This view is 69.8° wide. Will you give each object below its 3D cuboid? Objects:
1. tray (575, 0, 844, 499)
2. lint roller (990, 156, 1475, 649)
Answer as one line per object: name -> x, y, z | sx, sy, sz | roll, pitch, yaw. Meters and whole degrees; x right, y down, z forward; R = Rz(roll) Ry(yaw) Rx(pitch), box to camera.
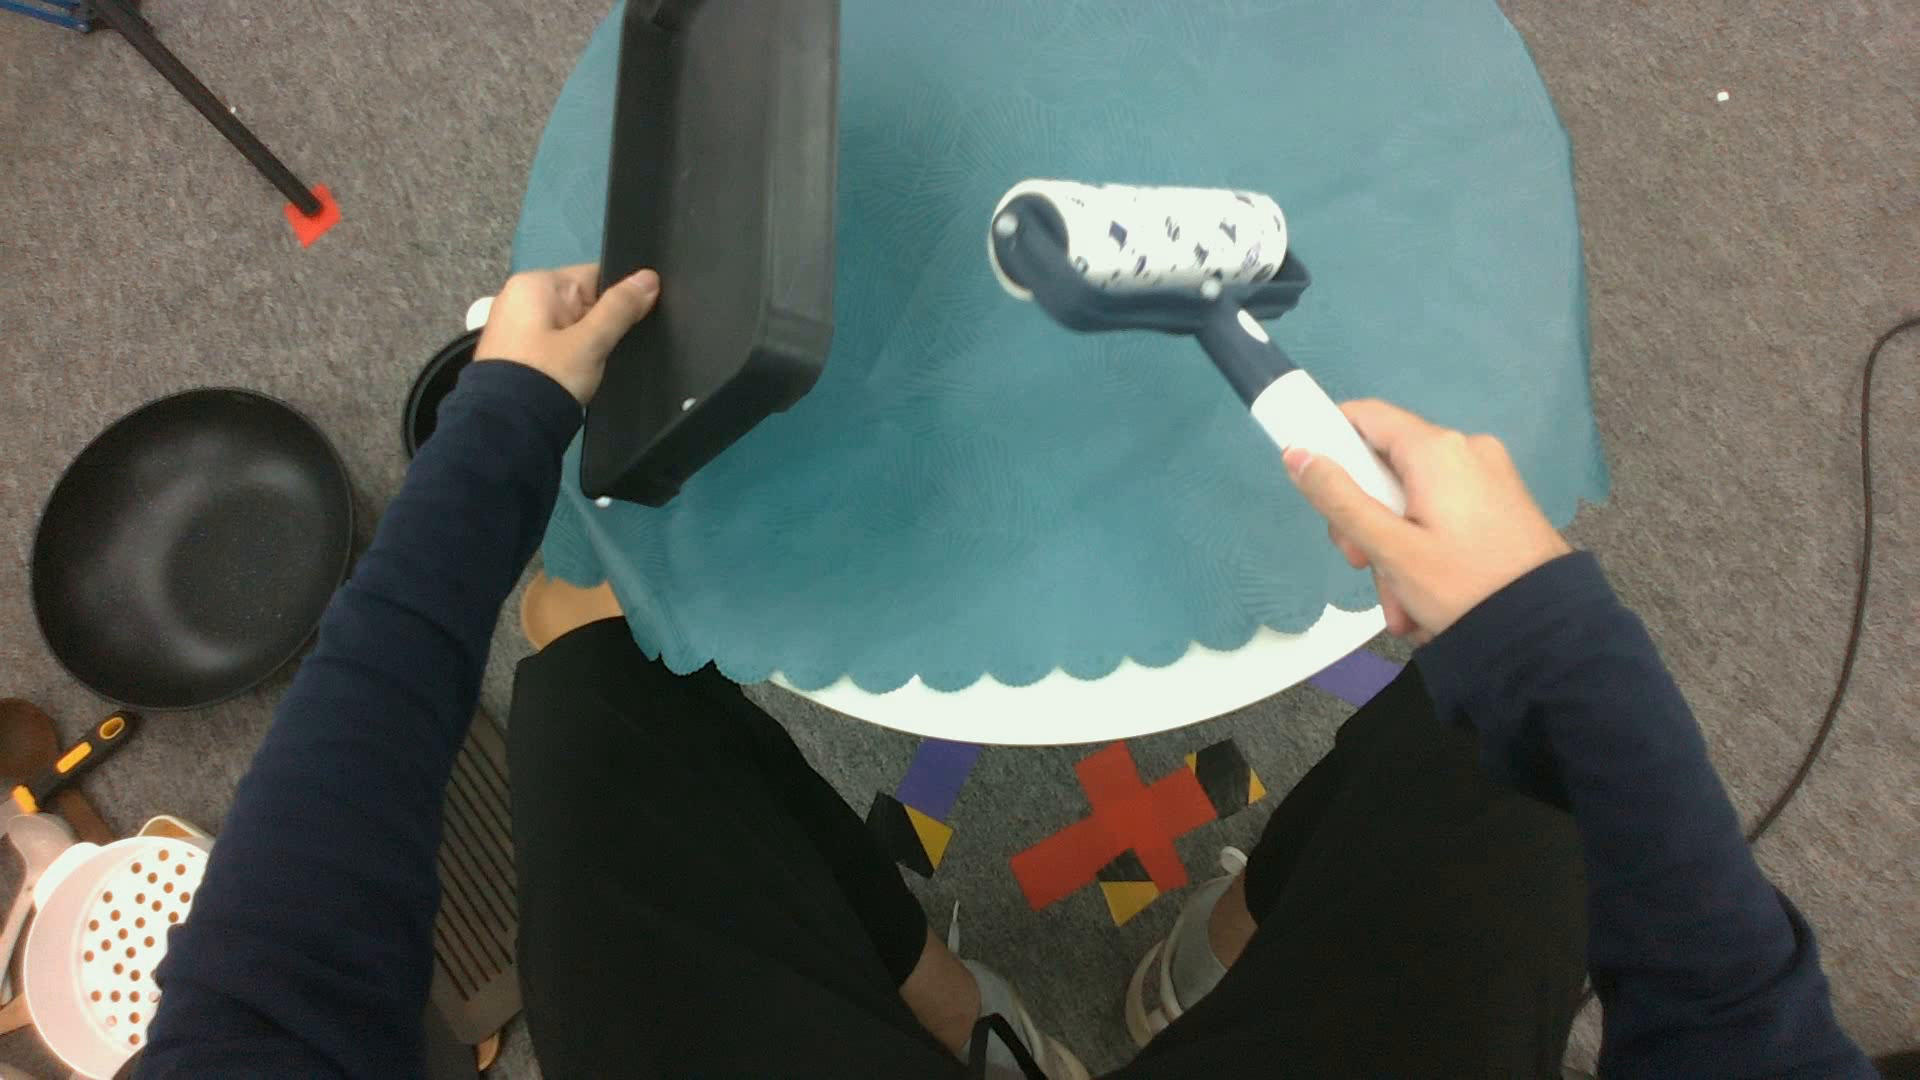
tray -> -0.118, -0.189, 0.654 | 0.037, 0.183, 0.319 | 15, 63, -35
lint roller -> 0.135, -0.063, 0.575 | 0.177, 0.050, 0.247 | -13, 61, -48
